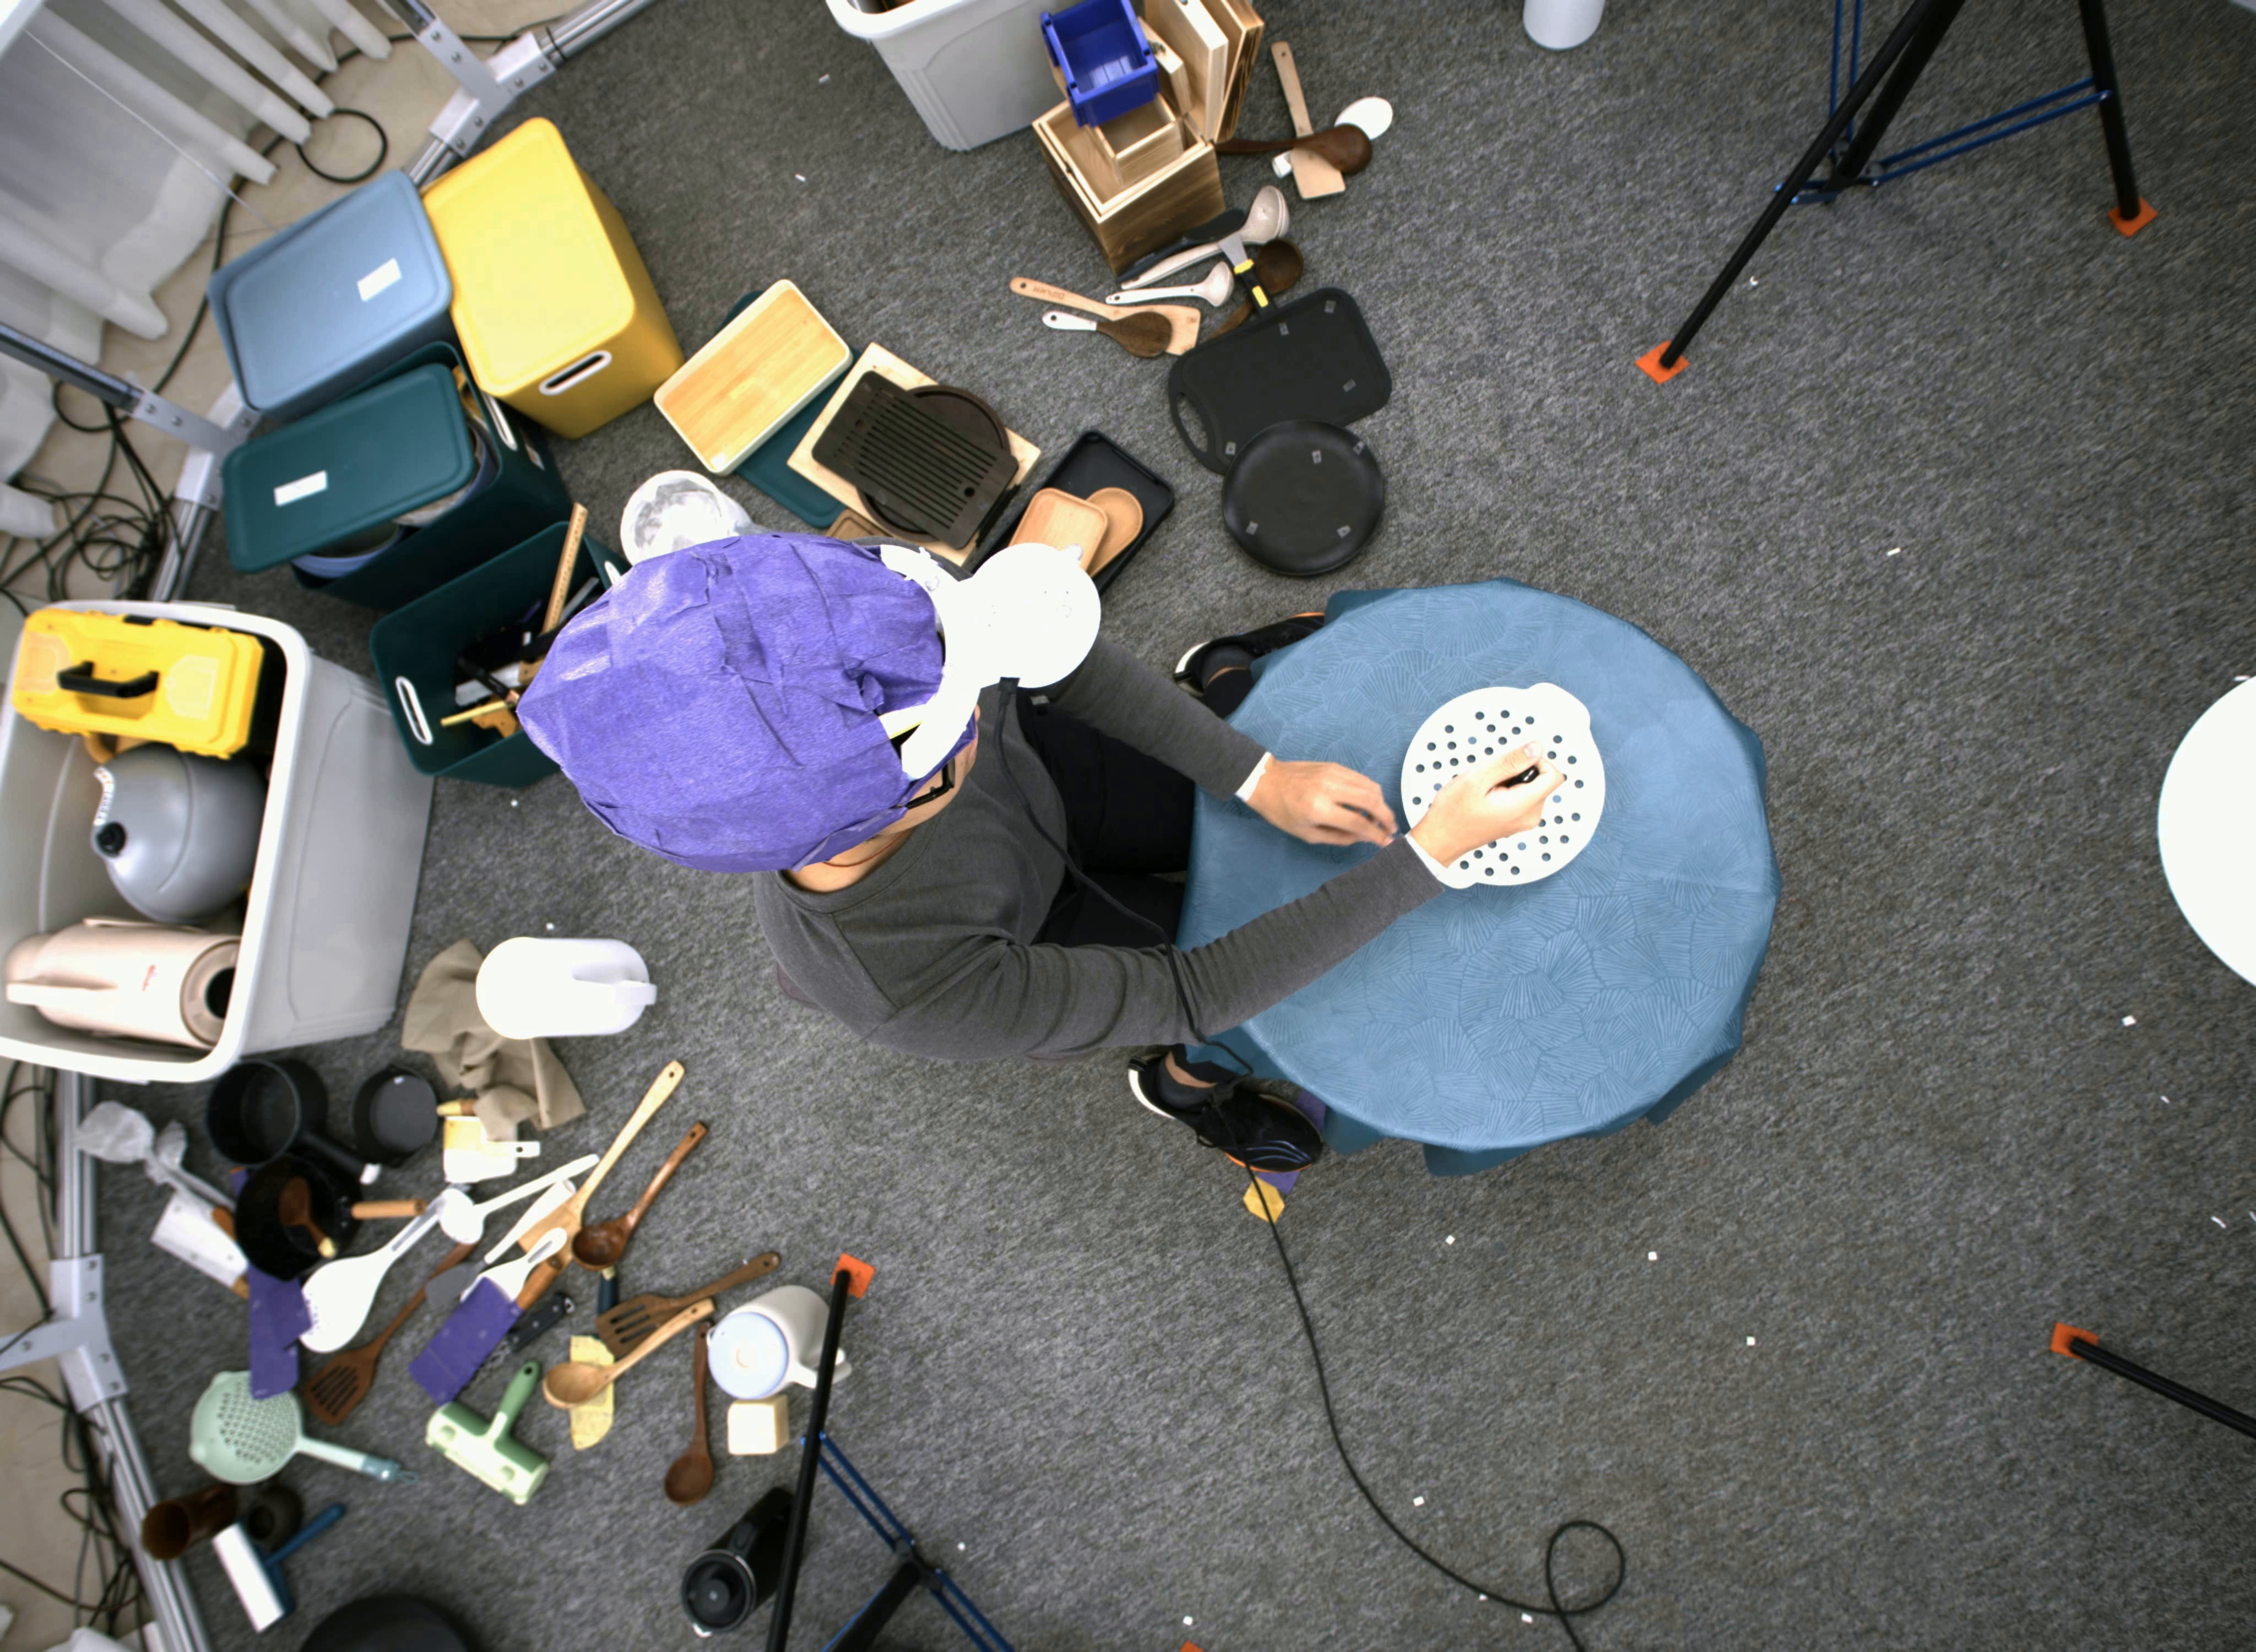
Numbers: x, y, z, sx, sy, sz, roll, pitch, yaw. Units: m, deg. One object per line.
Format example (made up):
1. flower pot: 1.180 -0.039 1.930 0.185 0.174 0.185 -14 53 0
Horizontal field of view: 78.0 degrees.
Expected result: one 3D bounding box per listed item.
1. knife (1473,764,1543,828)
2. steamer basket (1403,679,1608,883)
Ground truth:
1. knife: 0.341 -0.022 1.258 0.024 0.240 0.016 -40 80 -6
2. steamer basket: 0.385 -0.045 1.410 0.201 0.069 0.231 38 94 11
